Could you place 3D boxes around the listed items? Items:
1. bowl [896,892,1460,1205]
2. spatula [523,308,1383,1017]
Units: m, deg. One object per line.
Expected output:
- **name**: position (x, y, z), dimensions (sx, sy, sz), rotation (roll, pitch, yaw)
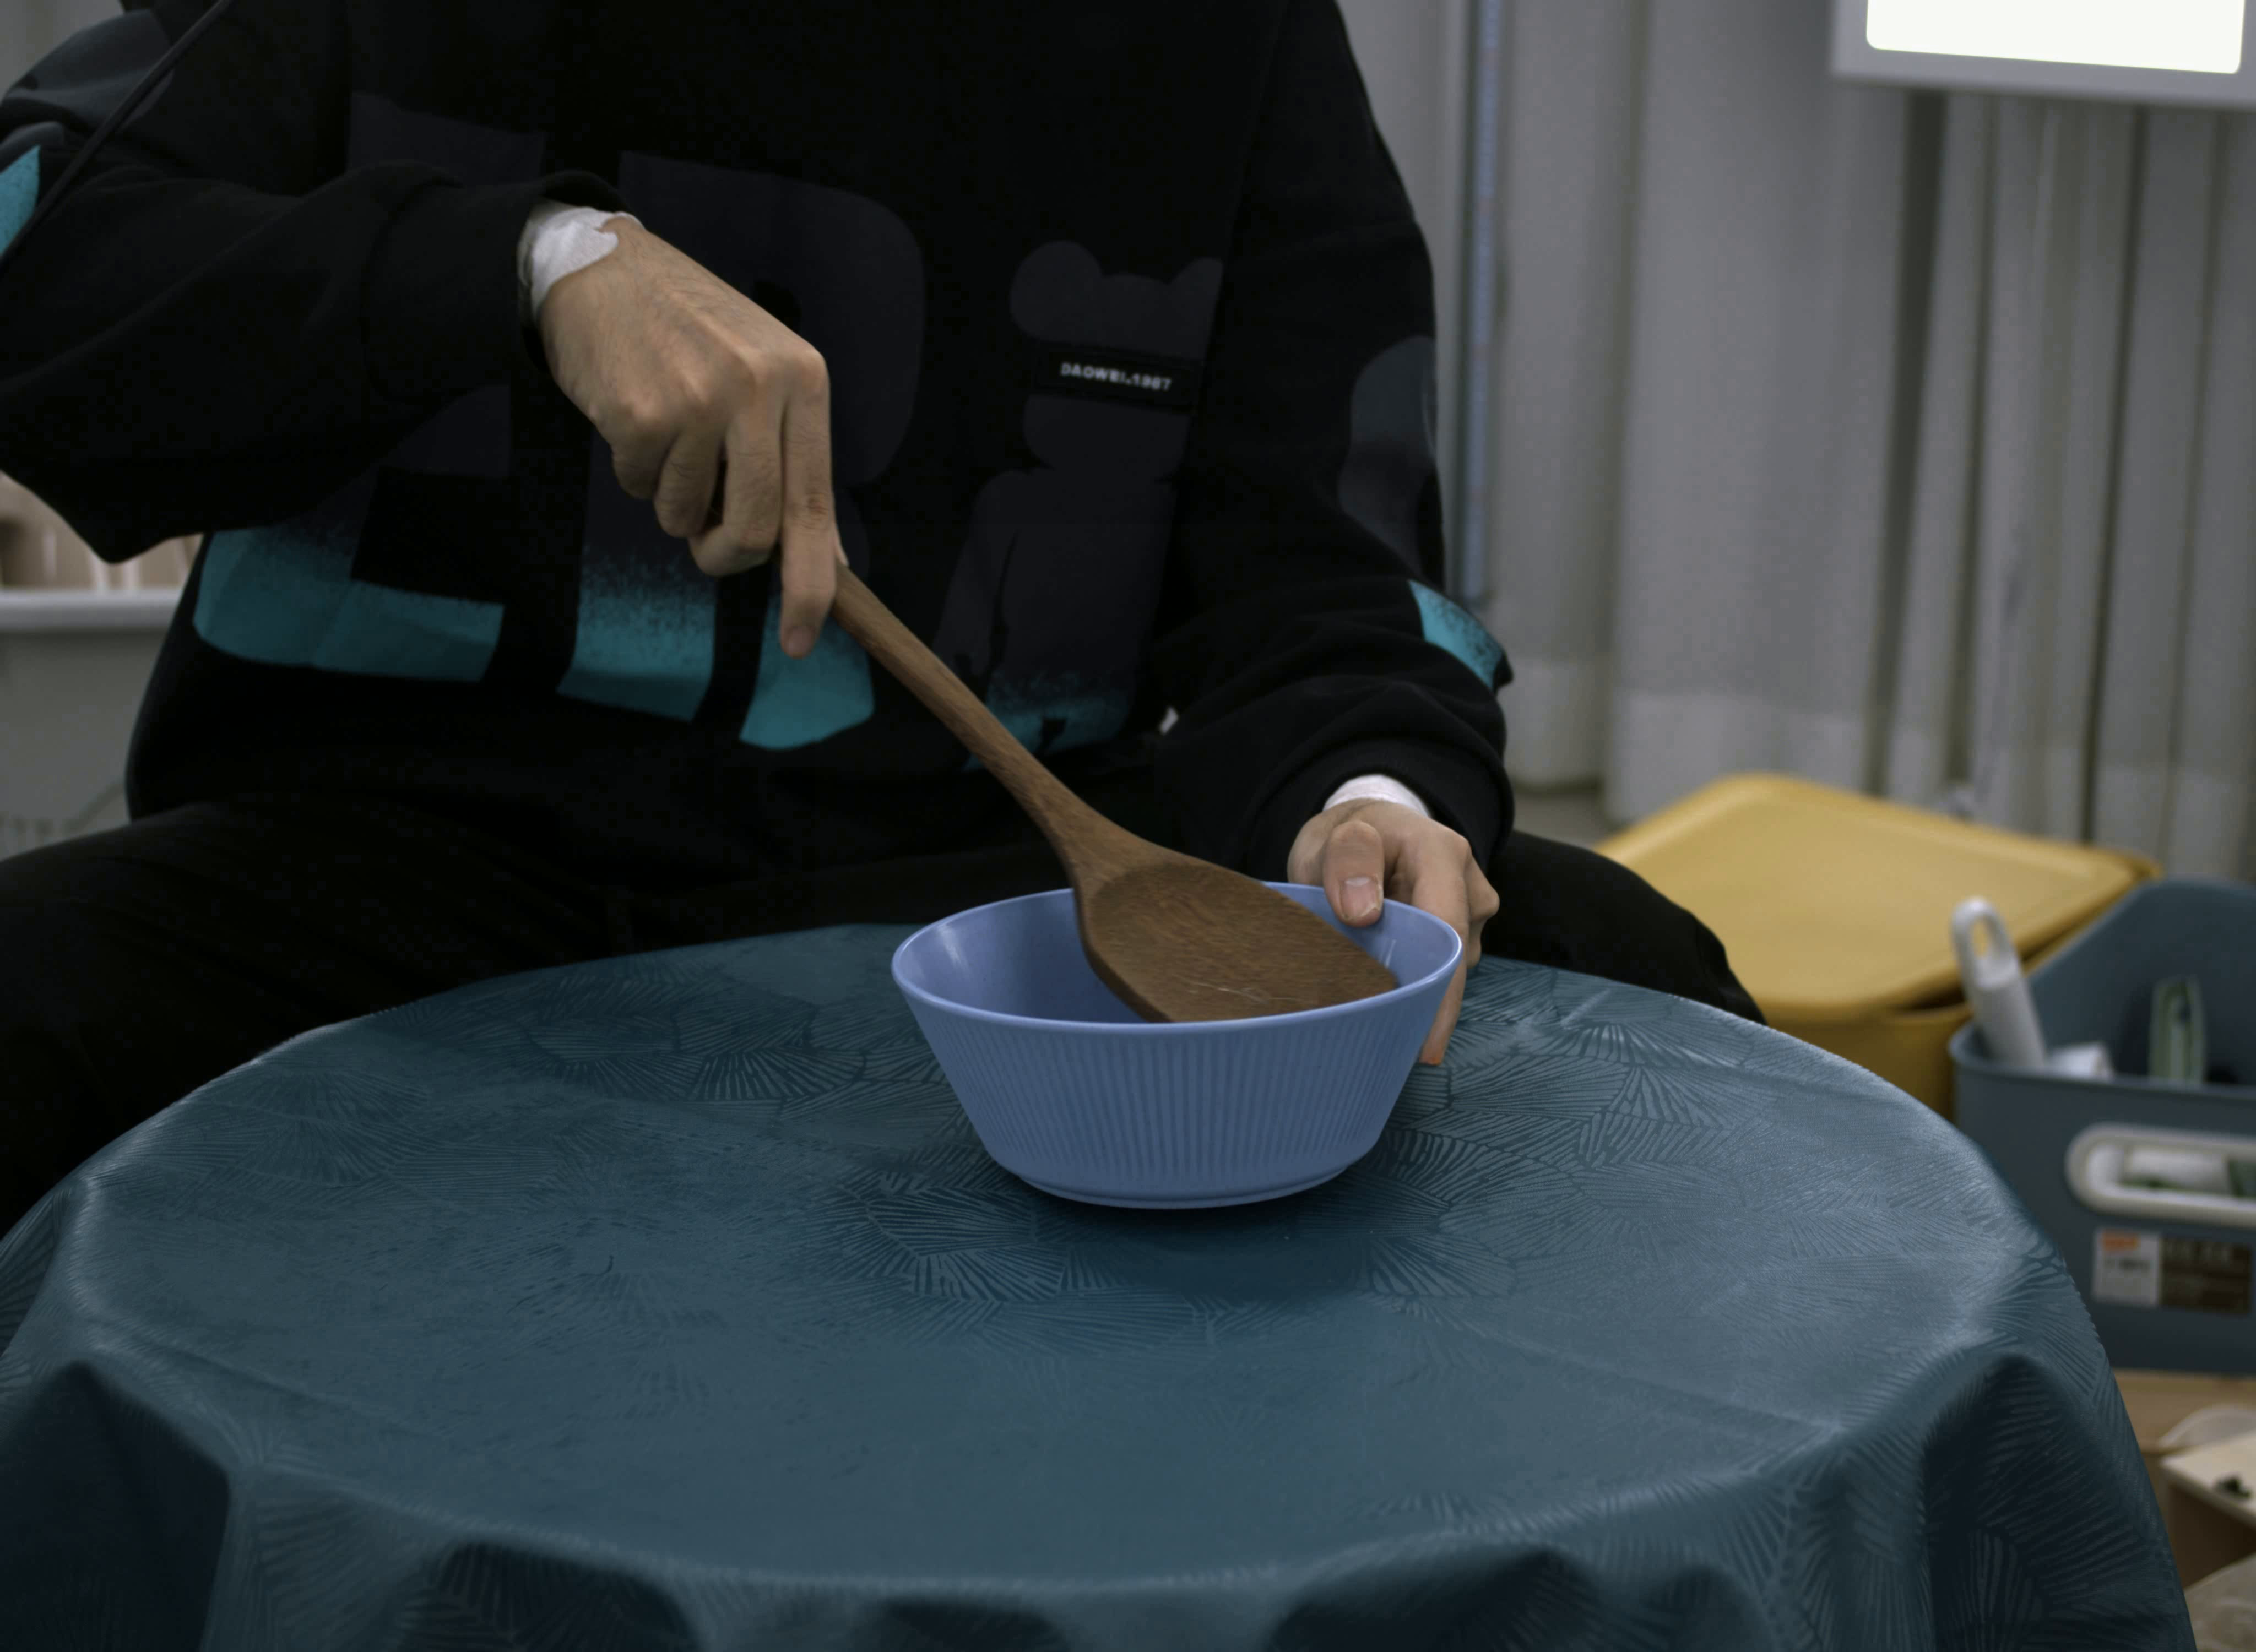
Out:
- **bowl**: position (0.016, 0.070, 1.631), dimensions (0.175, 0.071, 0.175), rotation (-1, 12, 1)
- **spatula**: position (-0.069, -0.052, 1.696), dimensions (0.382, 0.016, 0.096), rotation (44, 38, 20)
